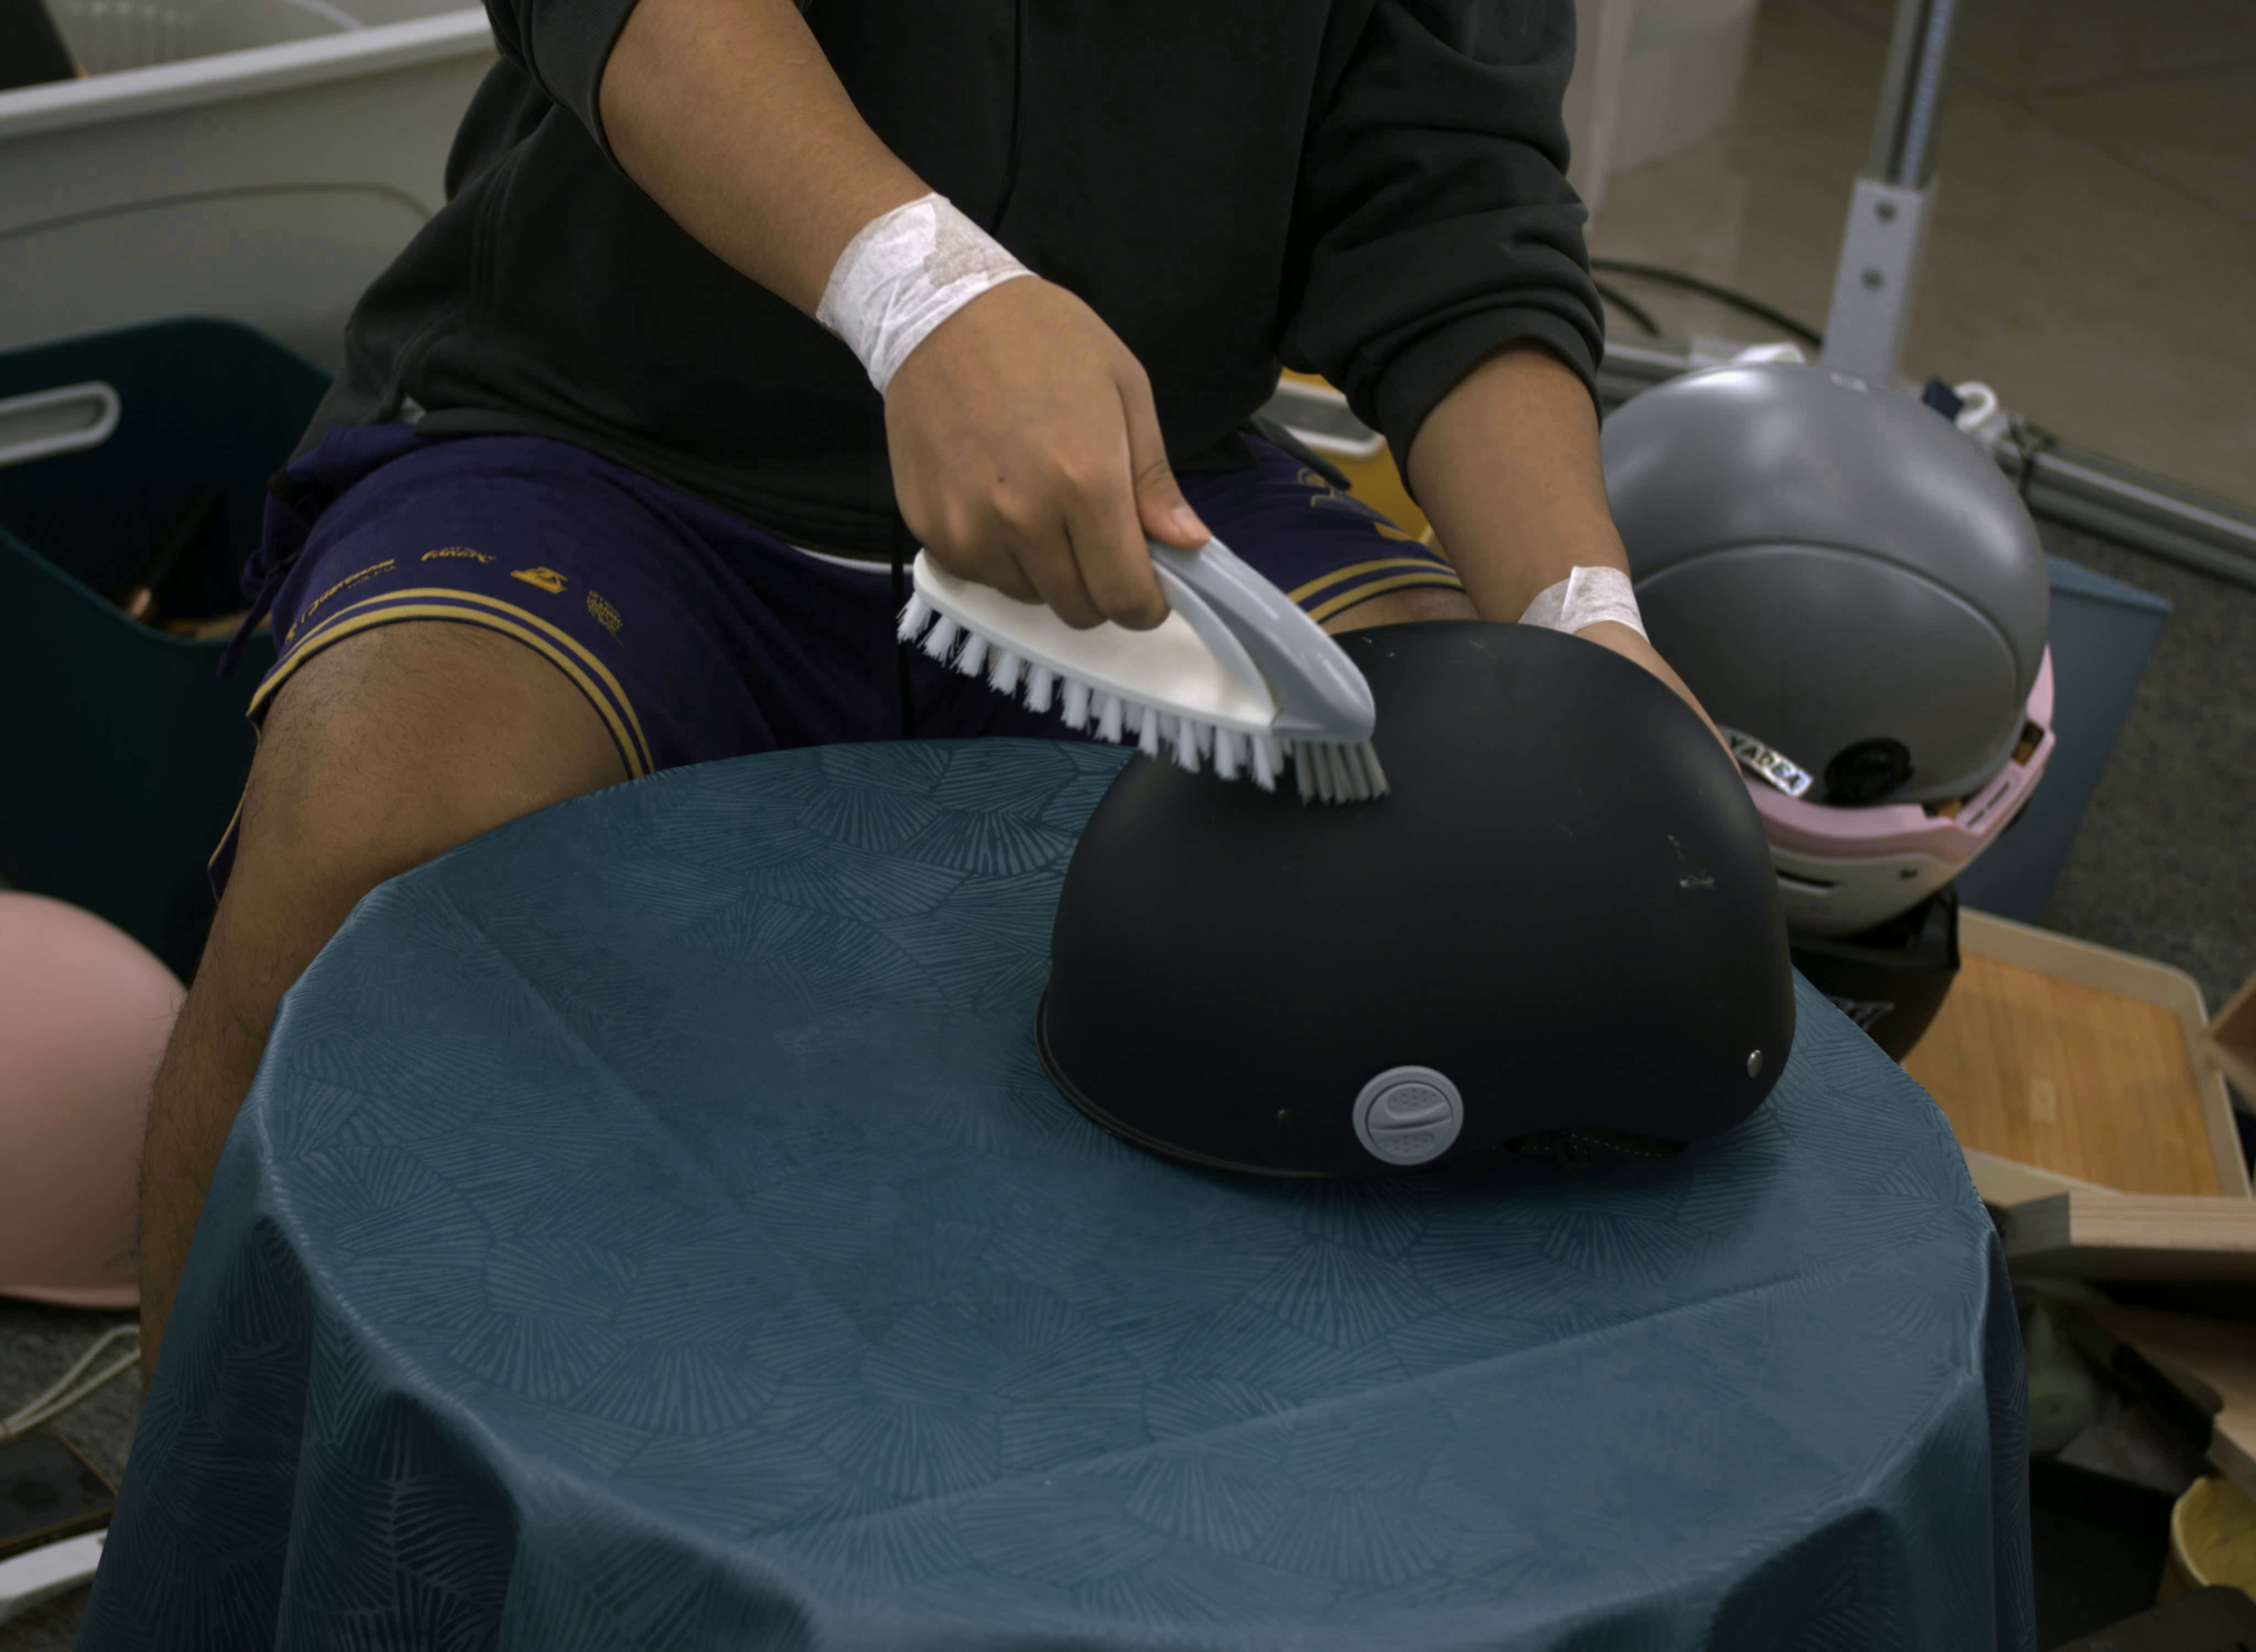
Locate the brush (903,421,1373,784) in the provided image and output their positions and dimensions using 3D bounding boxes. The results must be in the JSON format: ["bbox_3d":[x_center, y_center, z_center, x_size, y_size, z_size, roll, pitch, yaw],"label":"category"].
[{"bbox_3d":[0.011,-0.079,1.777,0.176,0.094,0.061,30,58,12],"label":"brush"}]

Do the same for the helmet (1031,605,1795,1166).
[{"bbox_3d":[0.105,0.010,1.872,0.271,0.166,0.232,-2,27,-13],"label":"helmet"}]
